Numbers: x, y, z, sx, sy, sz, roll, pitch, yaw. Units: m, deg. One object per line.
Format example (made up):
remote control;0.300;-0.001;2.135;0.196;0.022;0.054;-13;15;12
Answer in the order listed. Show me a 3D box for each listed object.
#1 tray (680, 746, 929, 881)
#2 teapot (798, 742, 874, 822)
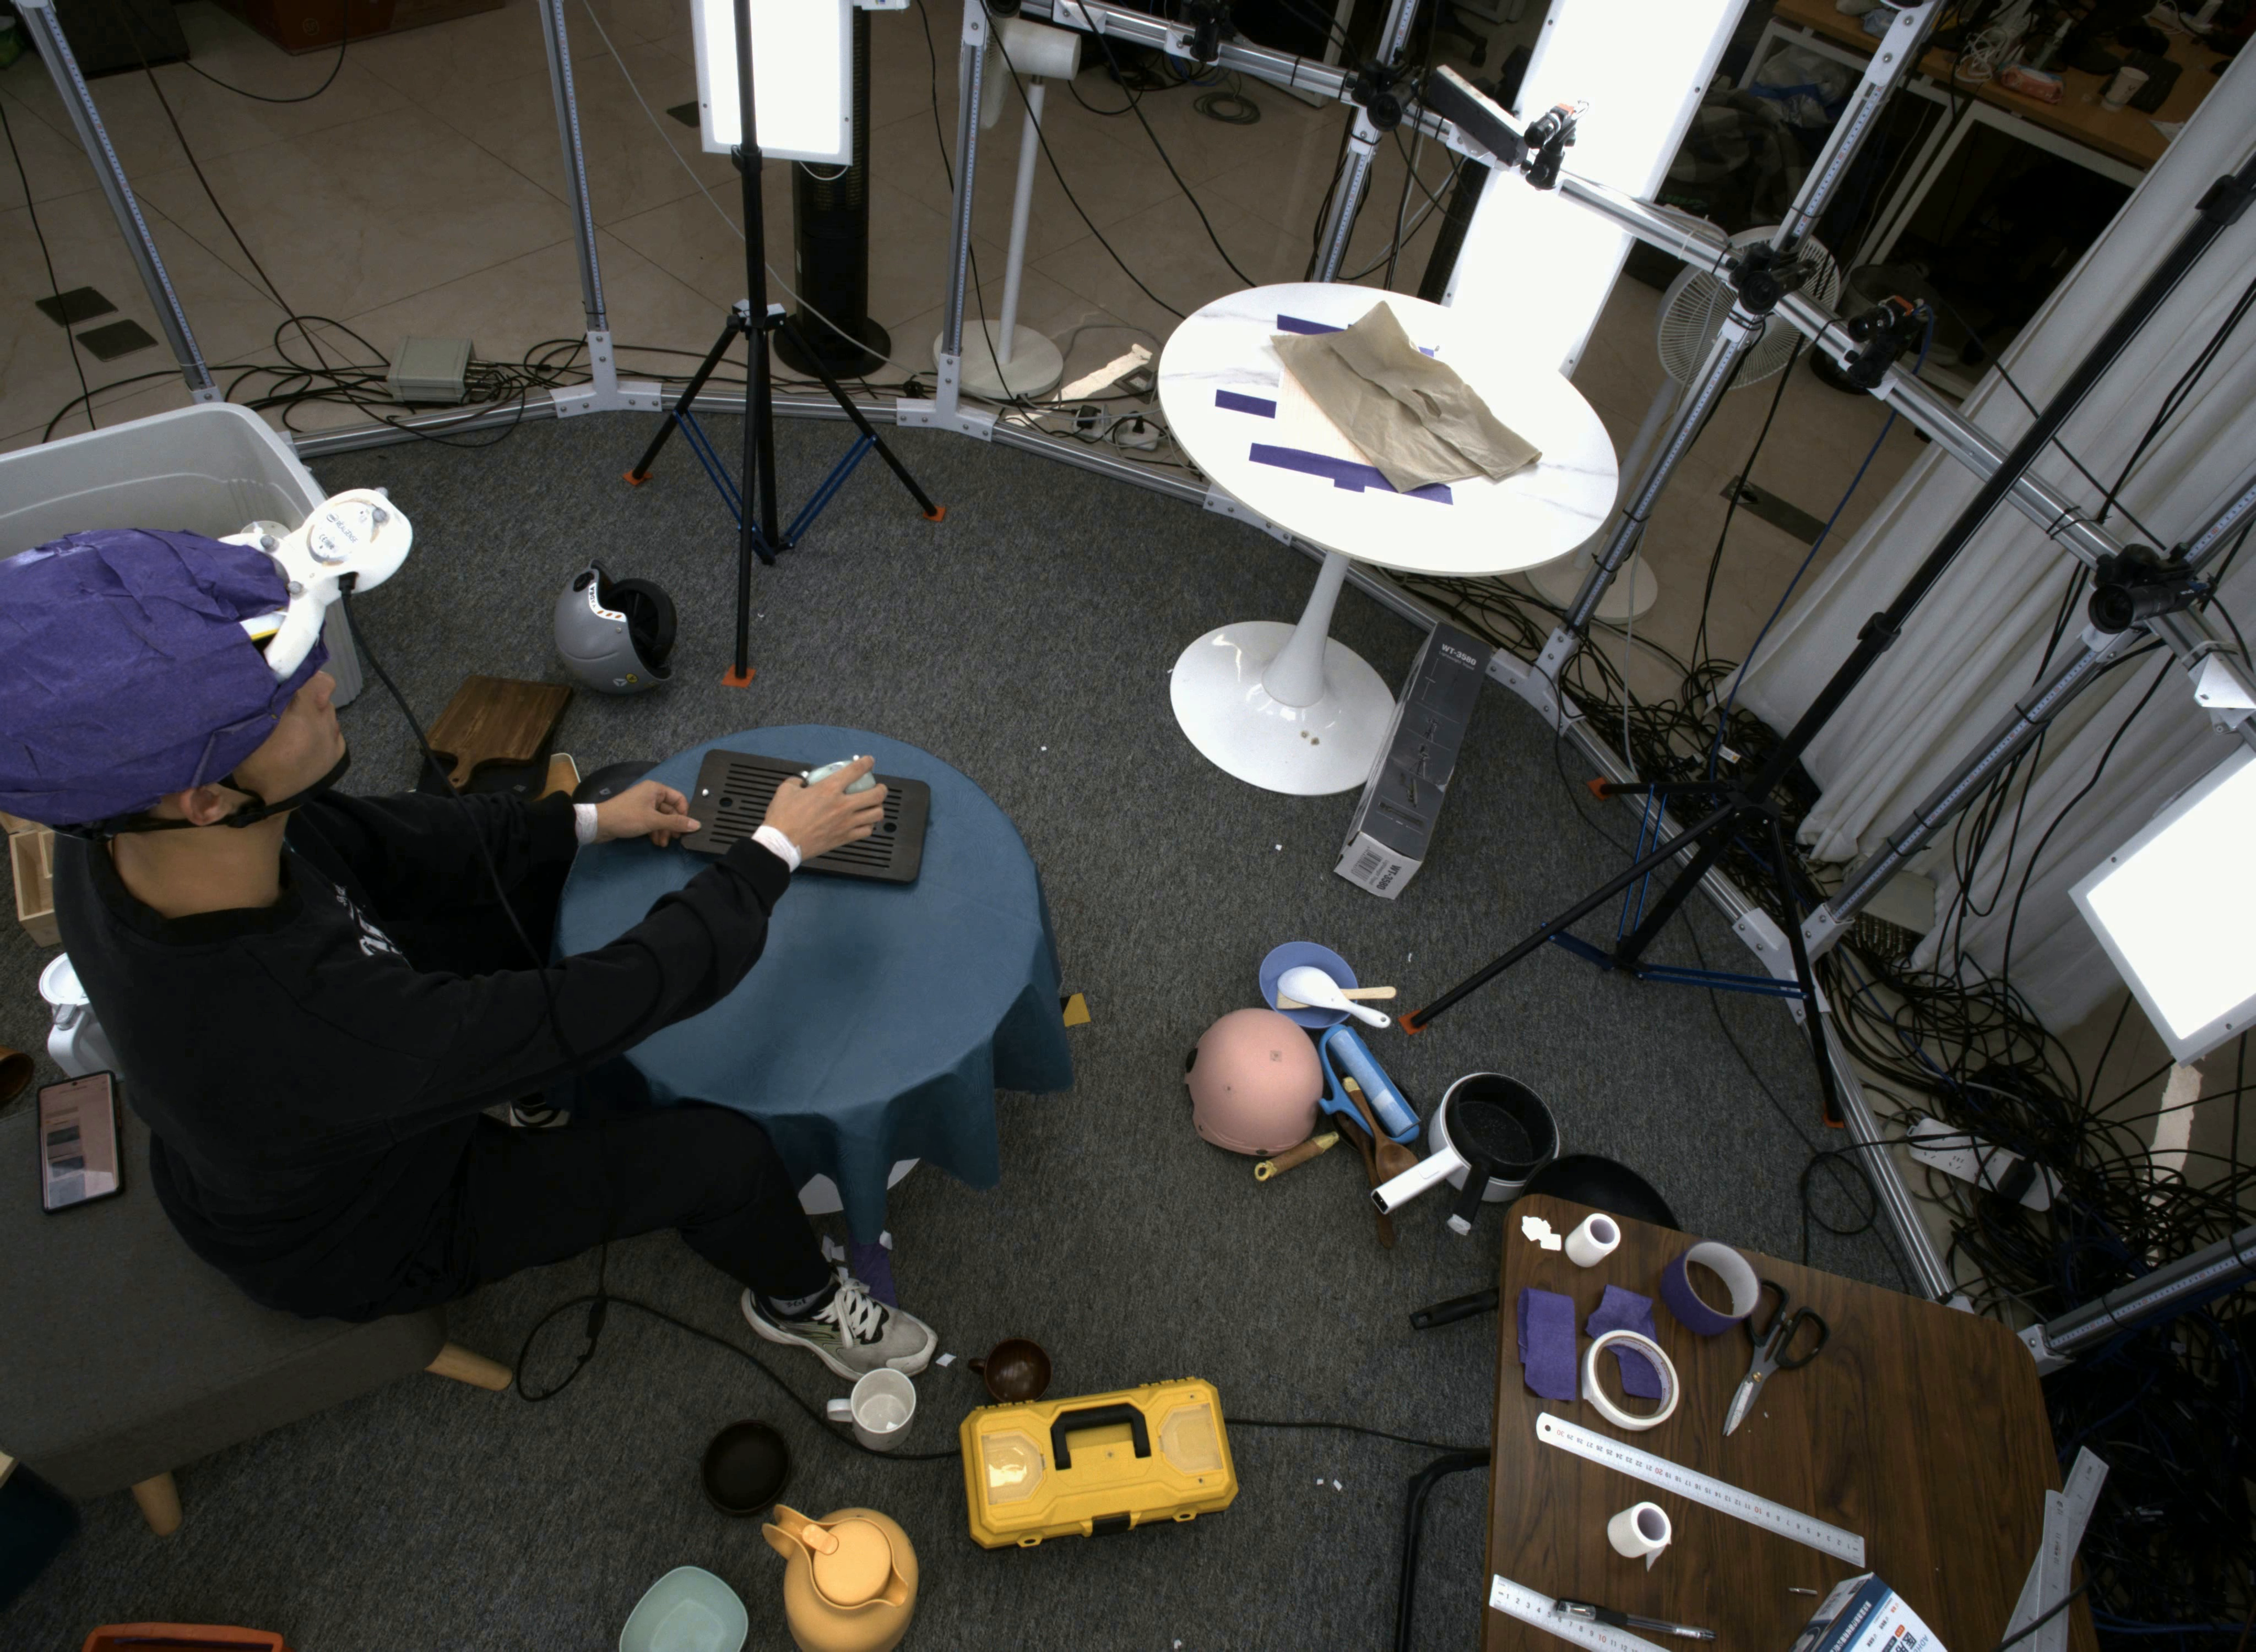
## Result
tray;-0.422;-0.016;1.713;0.306;0.019;0.167;9;53;-11
teapot;-0.346;-0.047;1.538;0.088;0.144;0.075;-14;81;-14
